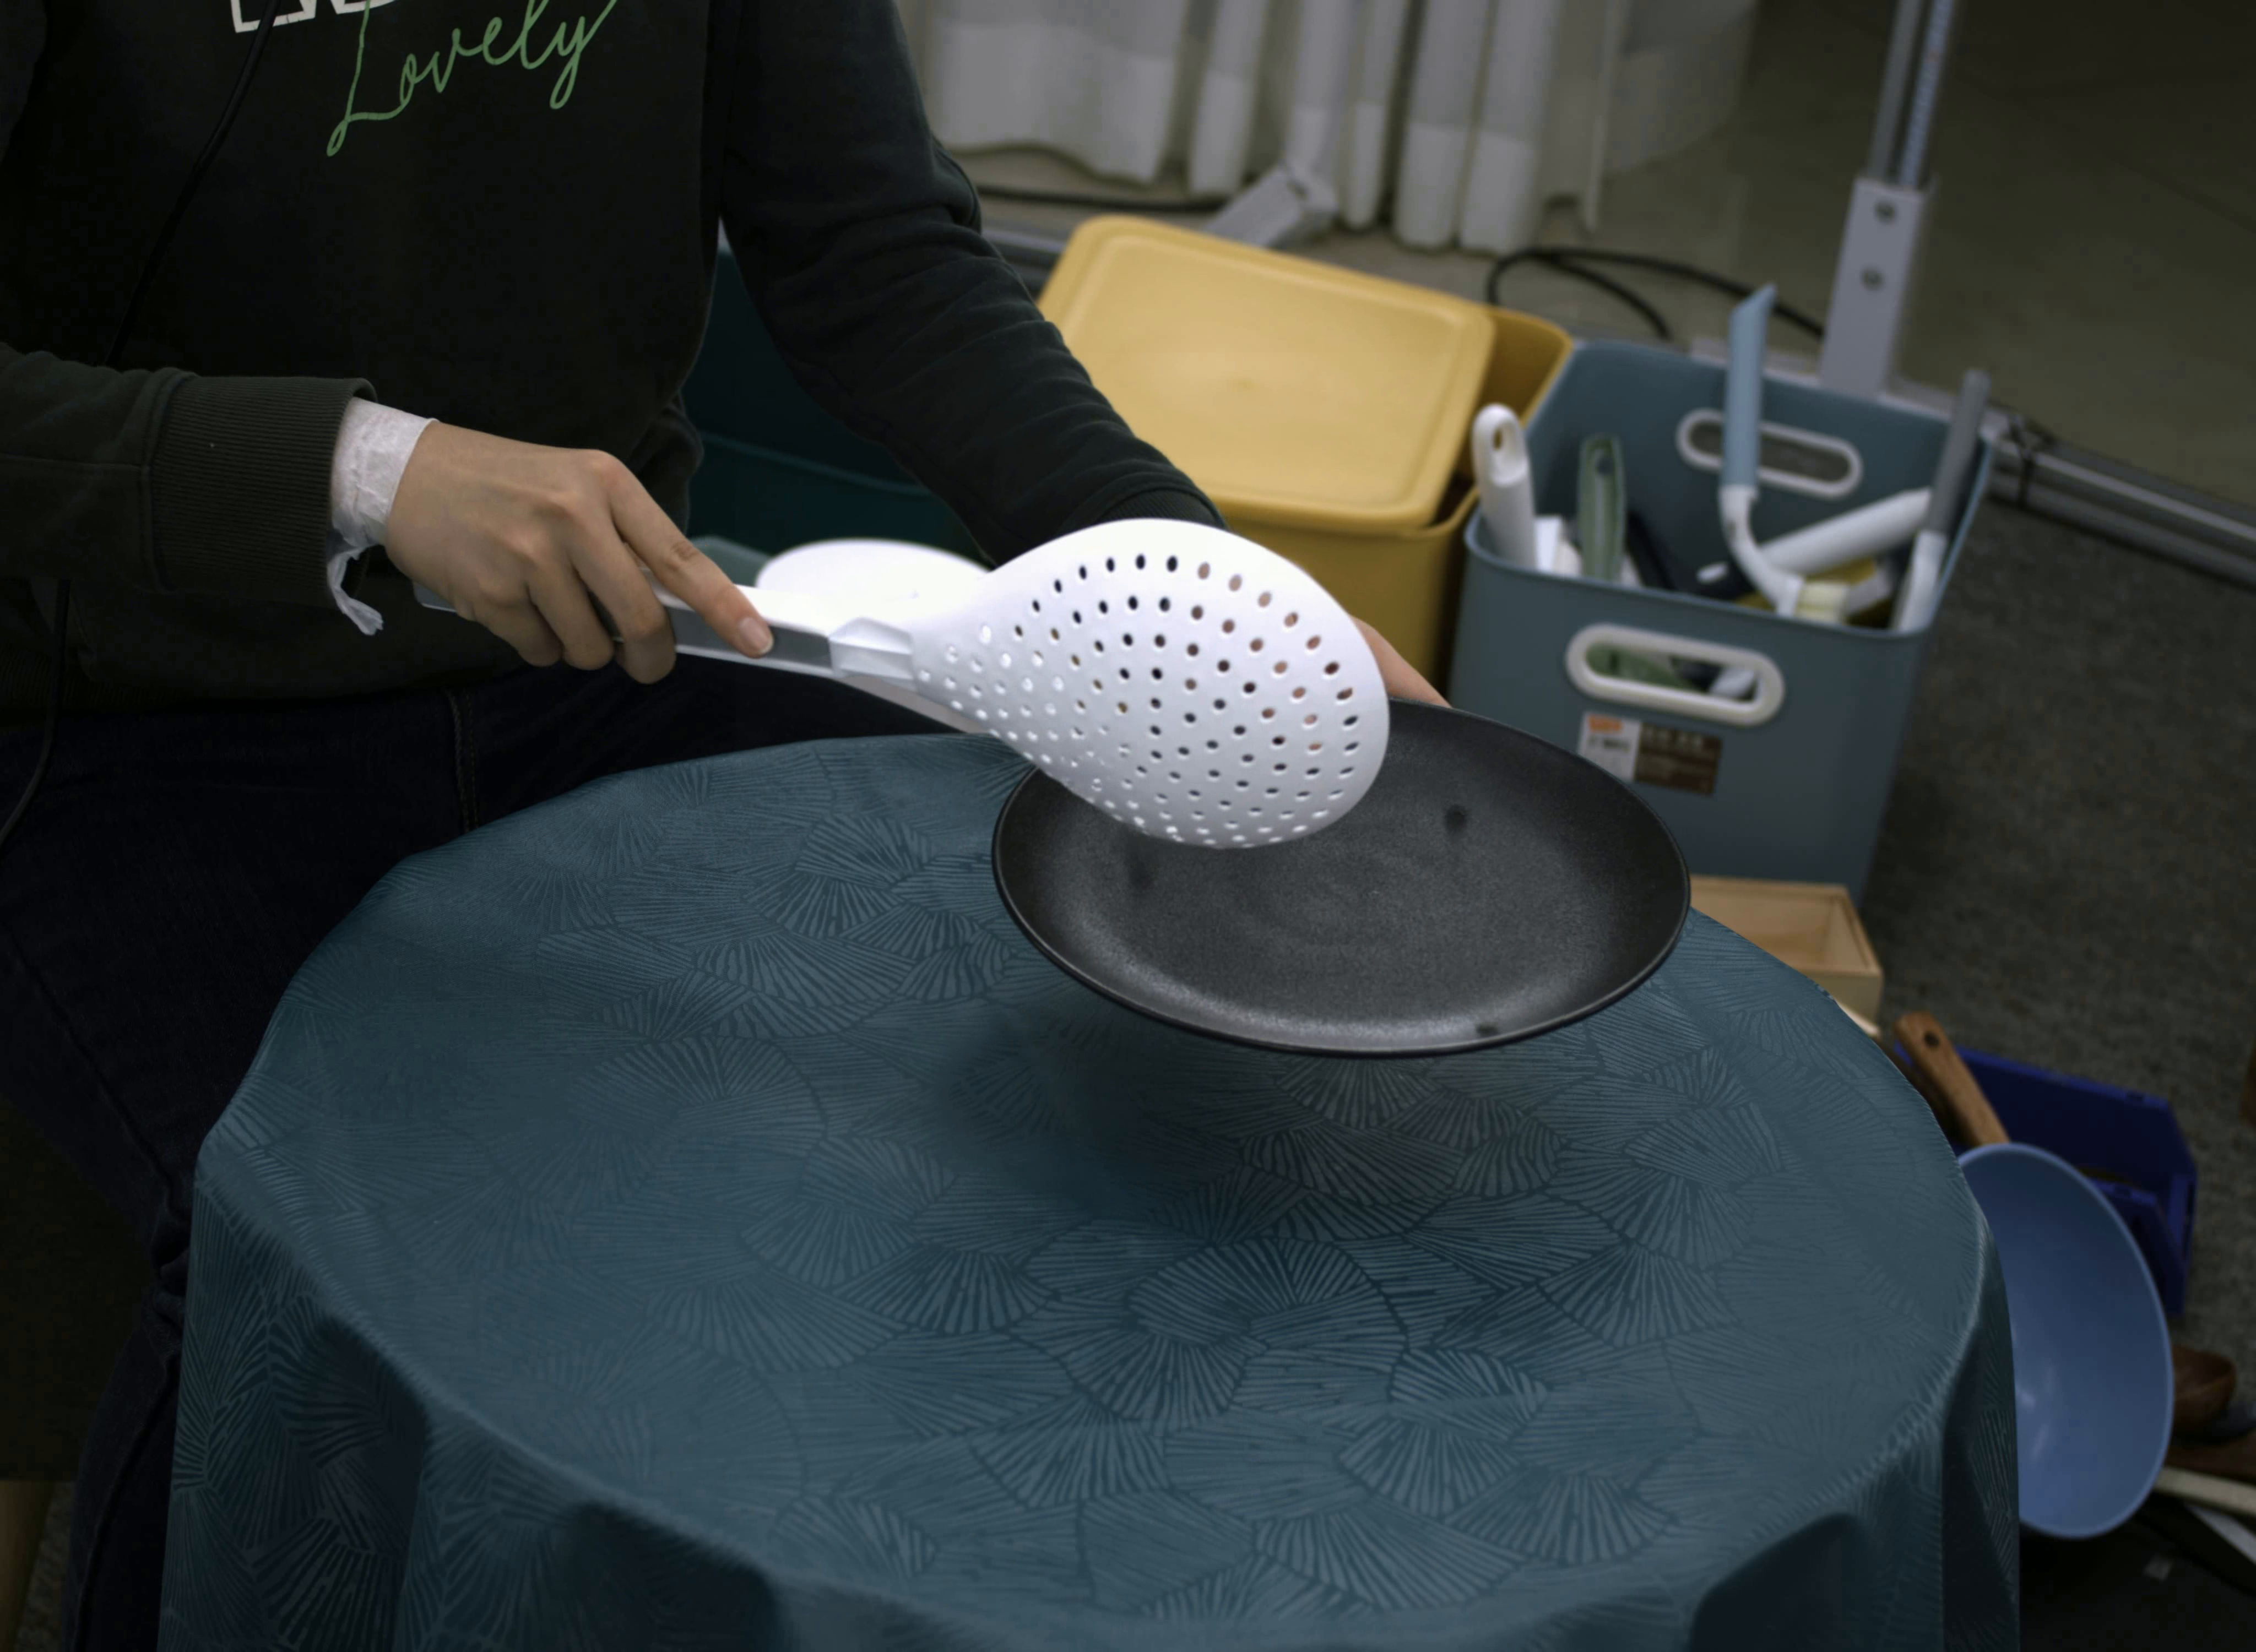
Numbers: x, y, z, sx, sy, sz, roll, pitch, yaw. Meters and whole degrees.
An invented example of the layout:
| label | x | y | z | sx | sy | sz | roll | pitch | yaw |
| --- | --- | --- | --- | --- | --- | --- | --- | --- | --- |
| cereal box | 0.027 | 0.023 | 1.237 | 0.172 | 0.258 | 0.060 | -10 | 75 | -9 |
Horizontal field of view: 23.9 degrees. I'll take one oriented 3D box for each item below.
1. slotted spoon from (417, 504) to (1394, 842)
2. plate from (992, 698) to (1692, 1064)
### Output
| label | x | y | z | sx | sy | sz | roll | pitch | yaw |
| --- | --- | --- | --- | --- | --- | --- | --- | --- | --- |
| slotted spoon | -0.081 | -0.062 | 1.800 | 0.351 | 0.135 | 0.046 | 12 | 40 | 21 |
| plate | 0.074 | 0.021 | 1.848 | 0.243 | 0.023 | 0.246 | 2 | 30 | -2 |
